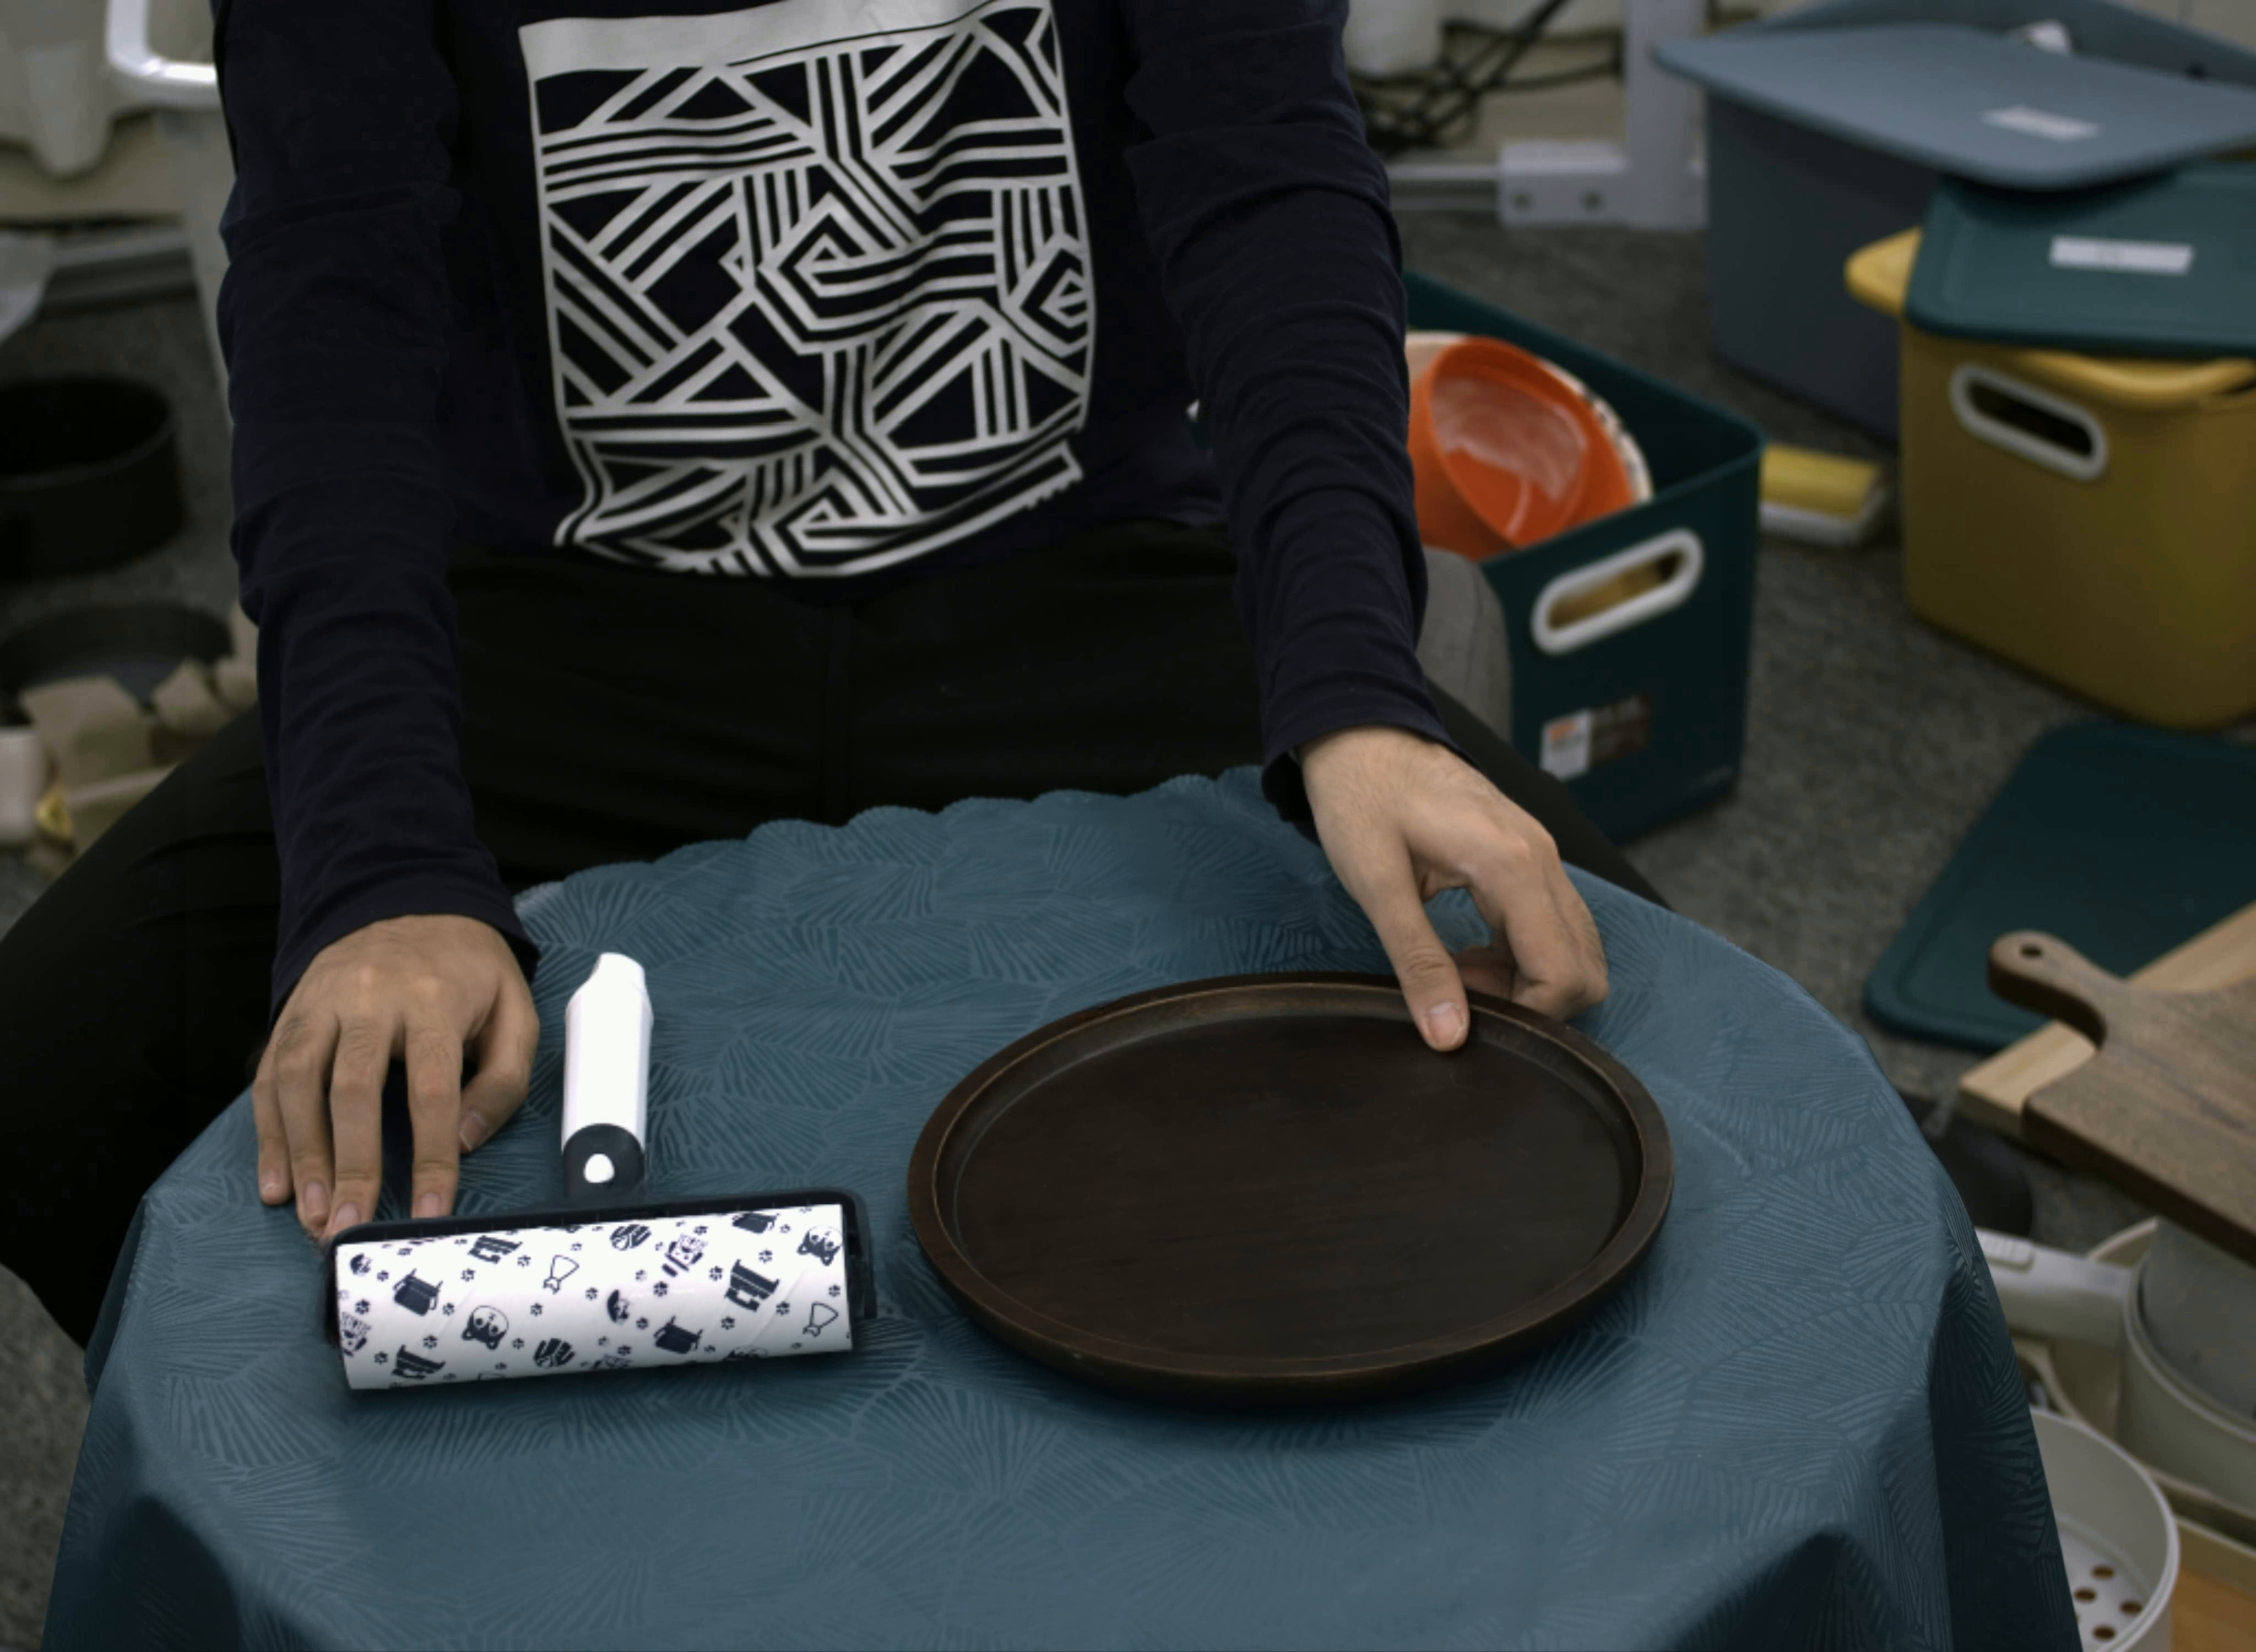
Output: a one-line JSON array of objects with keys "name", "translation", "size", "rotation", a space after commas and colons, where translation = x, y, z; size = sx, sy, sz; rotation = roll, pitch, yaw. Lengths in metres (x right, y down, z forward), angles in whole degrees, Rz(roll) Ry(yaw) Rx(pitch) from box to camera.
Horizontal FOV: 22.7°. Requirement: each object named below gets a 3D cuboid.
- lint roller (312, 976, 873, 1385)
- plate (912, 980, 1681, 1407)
[{"name": "lint roller", "translation": [-0.176, 0.105, 1.866], "size": [0.175, 0.050, 0.250], "rotation": [-6, 25, -3]}, {"name": "plate", "translation": [0.055, 0.118, 1.839], "size": [0.253, 0.029, 0.258], "rotation": [-2, 26, 1]}]
